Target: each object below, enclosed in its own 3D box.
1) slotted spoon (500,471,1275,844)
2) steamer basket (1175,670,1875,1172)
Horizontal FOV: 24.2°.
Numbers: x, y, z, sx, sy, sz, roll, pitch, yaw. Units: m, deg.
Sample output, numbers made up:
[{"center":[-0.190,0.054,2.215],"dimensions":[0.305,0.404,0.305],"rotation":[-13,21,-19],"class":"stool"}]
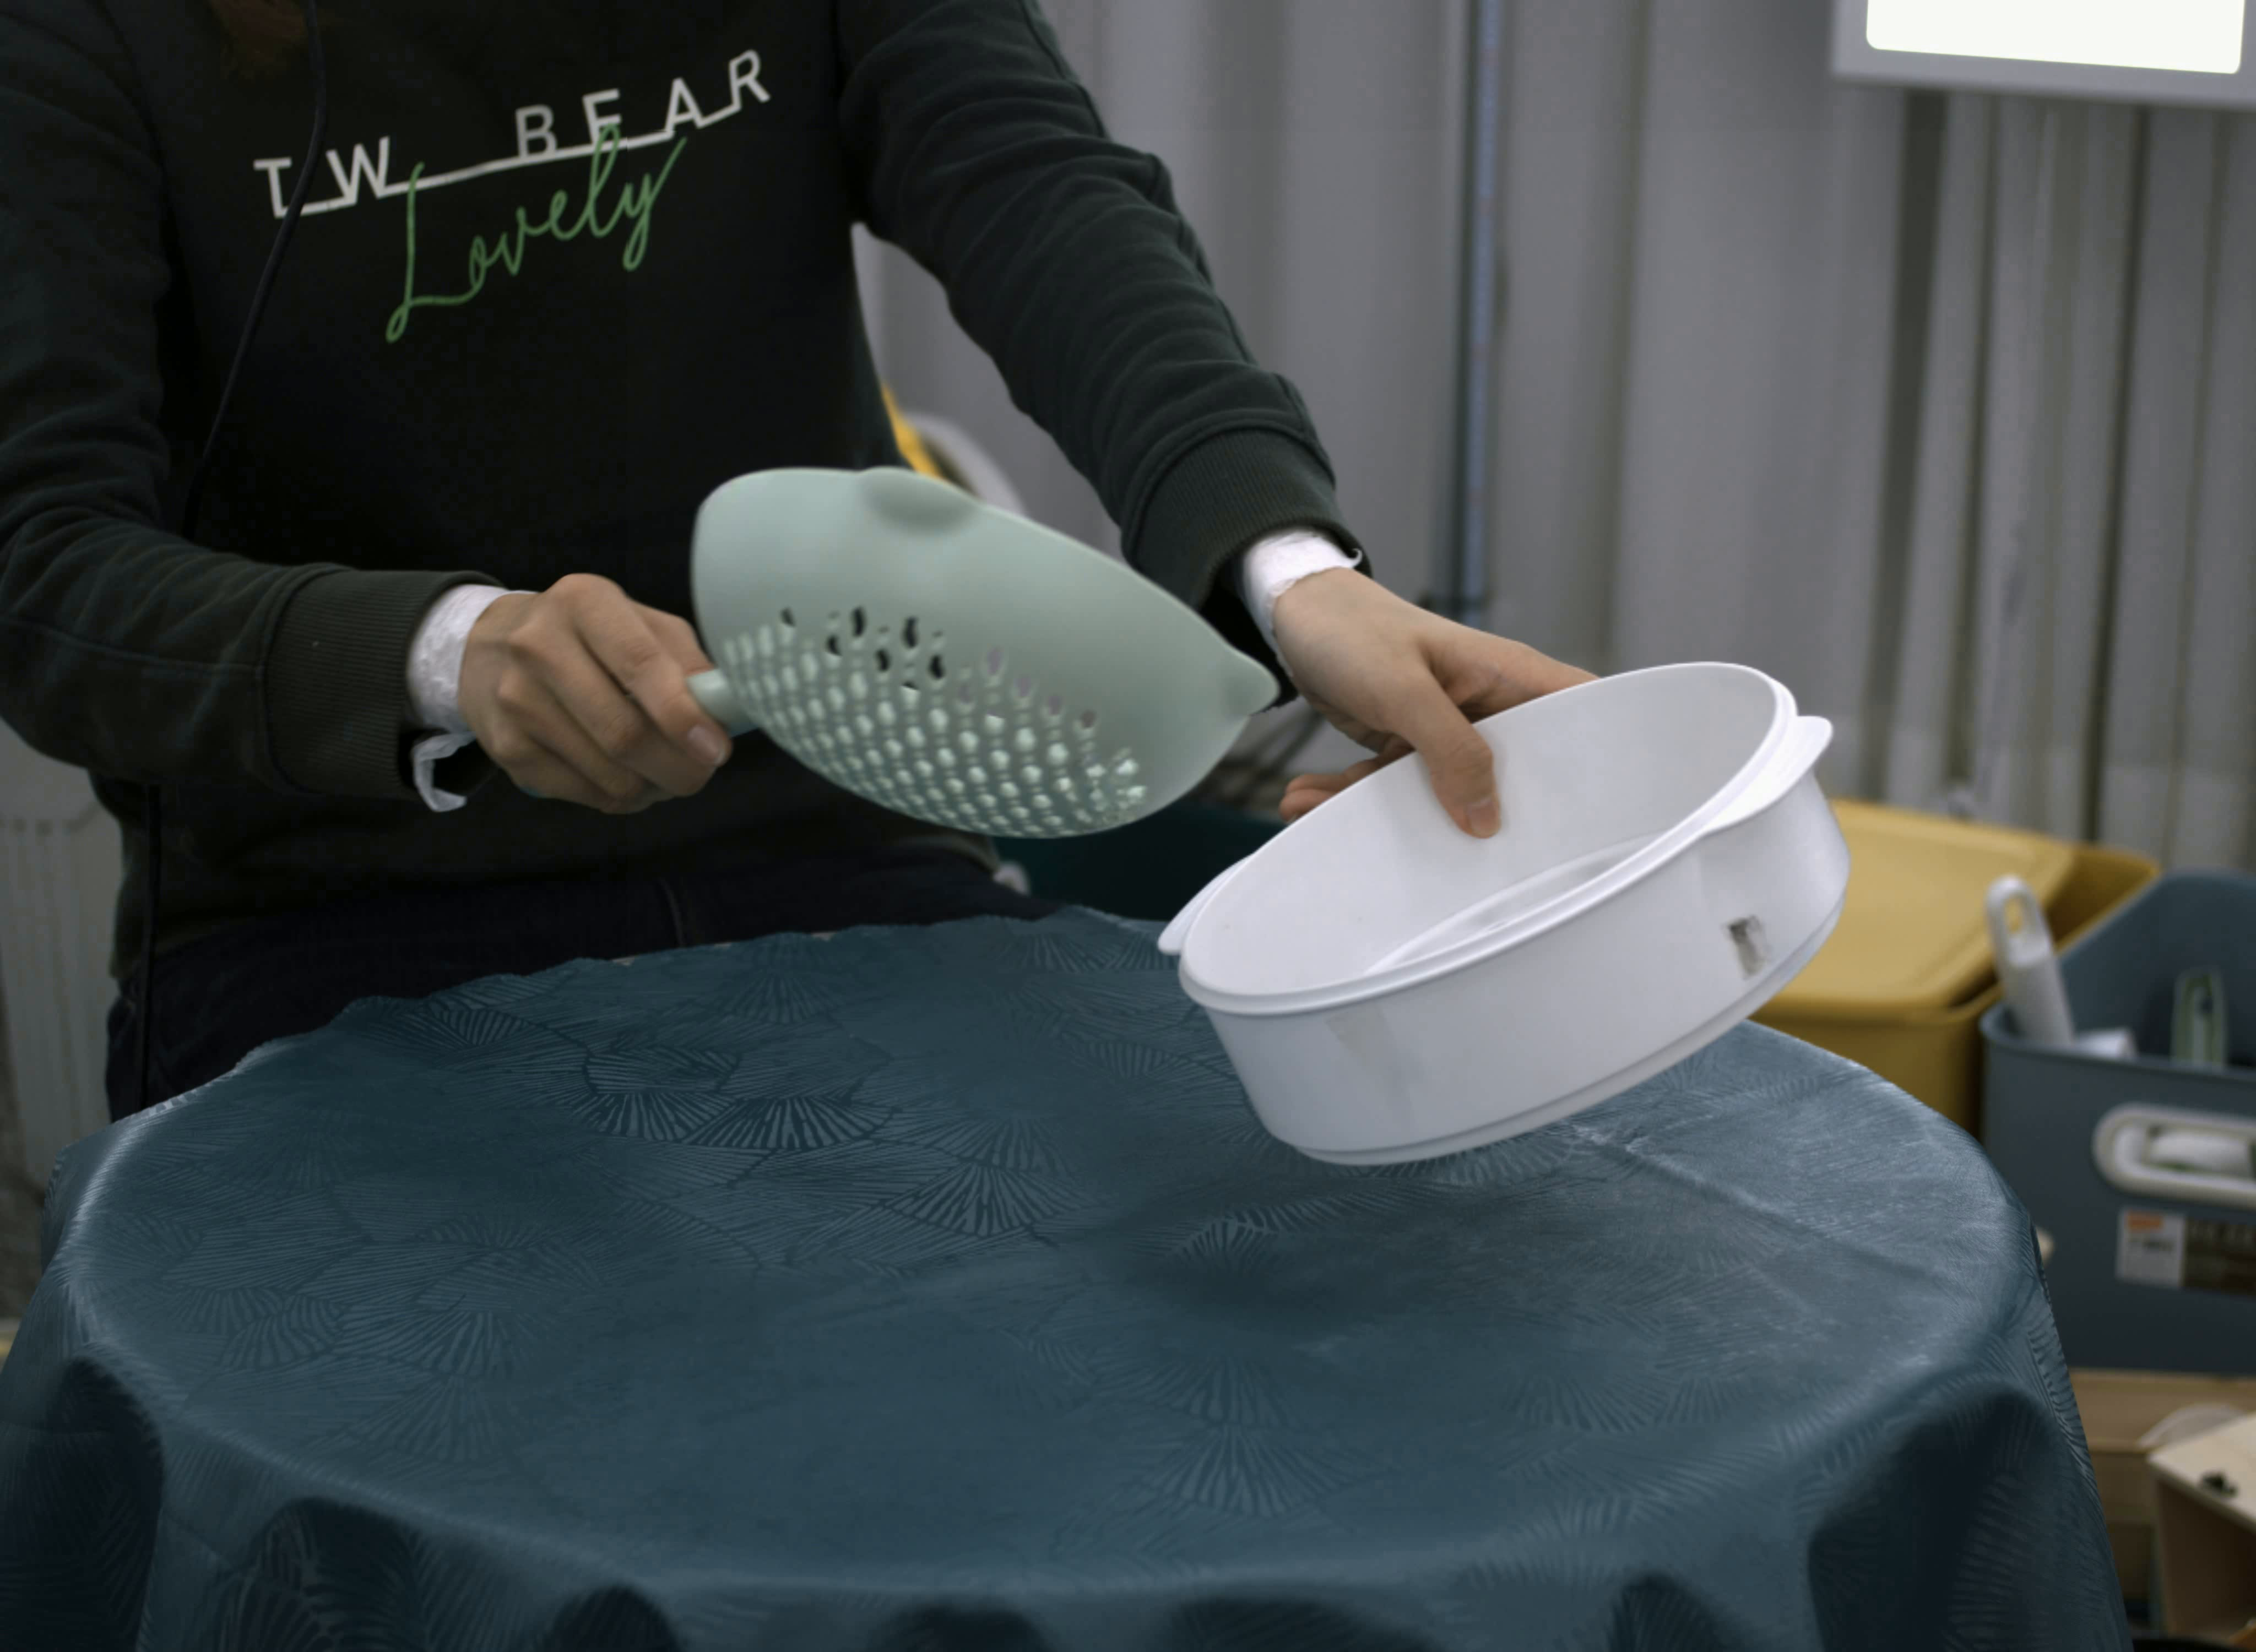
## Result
[{"center":[-0.102,-0.036,1.583],"dimensions":[0.171,0.075,0.355],"rotation":[29,-14,-27],"class":"slotted spoon"},{"center":[0.124,0.029,1.568],"dimensions":[0.228,0.070,0.202],"rotation":[-15,19,36],"class":"steamer basket"}]
